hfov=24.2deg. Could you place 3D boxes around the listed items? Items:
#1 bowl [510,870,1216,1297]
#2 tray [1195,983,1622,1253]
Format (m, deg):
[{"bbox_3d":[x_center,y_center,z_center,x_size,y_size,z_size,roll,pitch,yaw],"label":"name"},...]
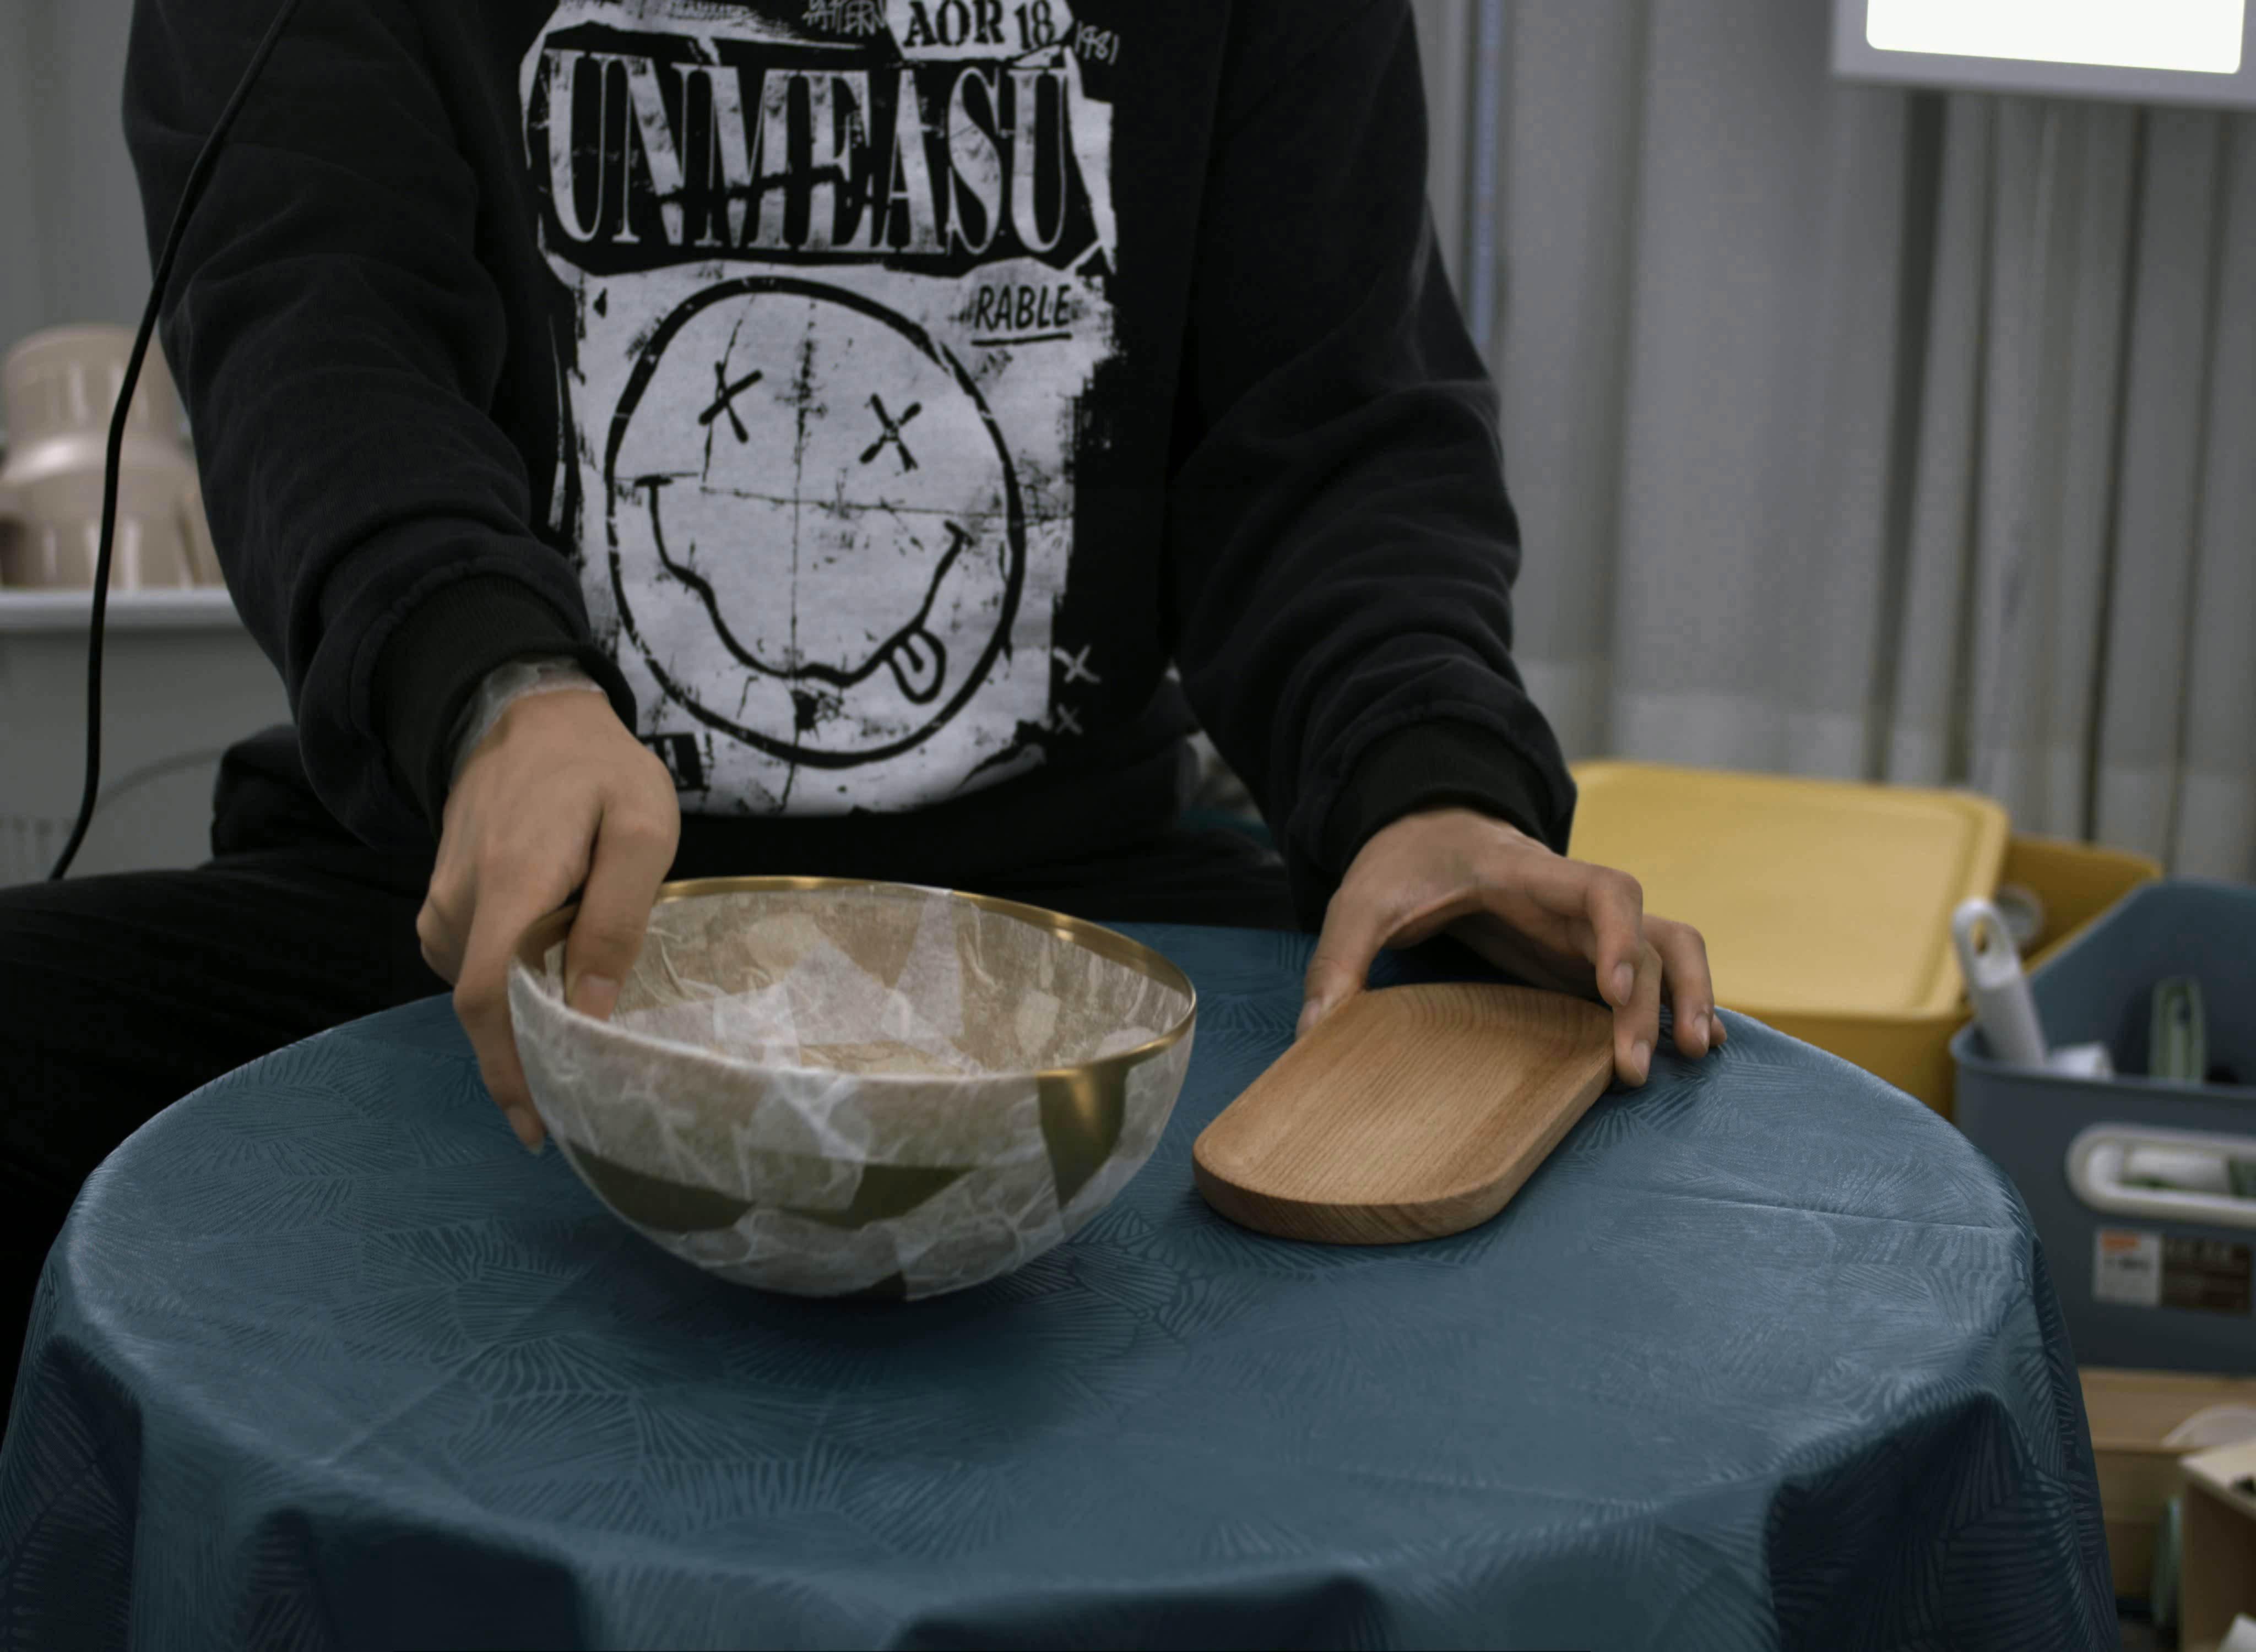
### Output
[{"bbox_3d":[-0.078,0.083,1.540,0.214,0.095,0.213,5,15,-1],"label":"bowl"},{"bbox_3d":[0.092,0.091,1.679,0.101,0.020,0.231,4,18,18],"label":"tray"}]
